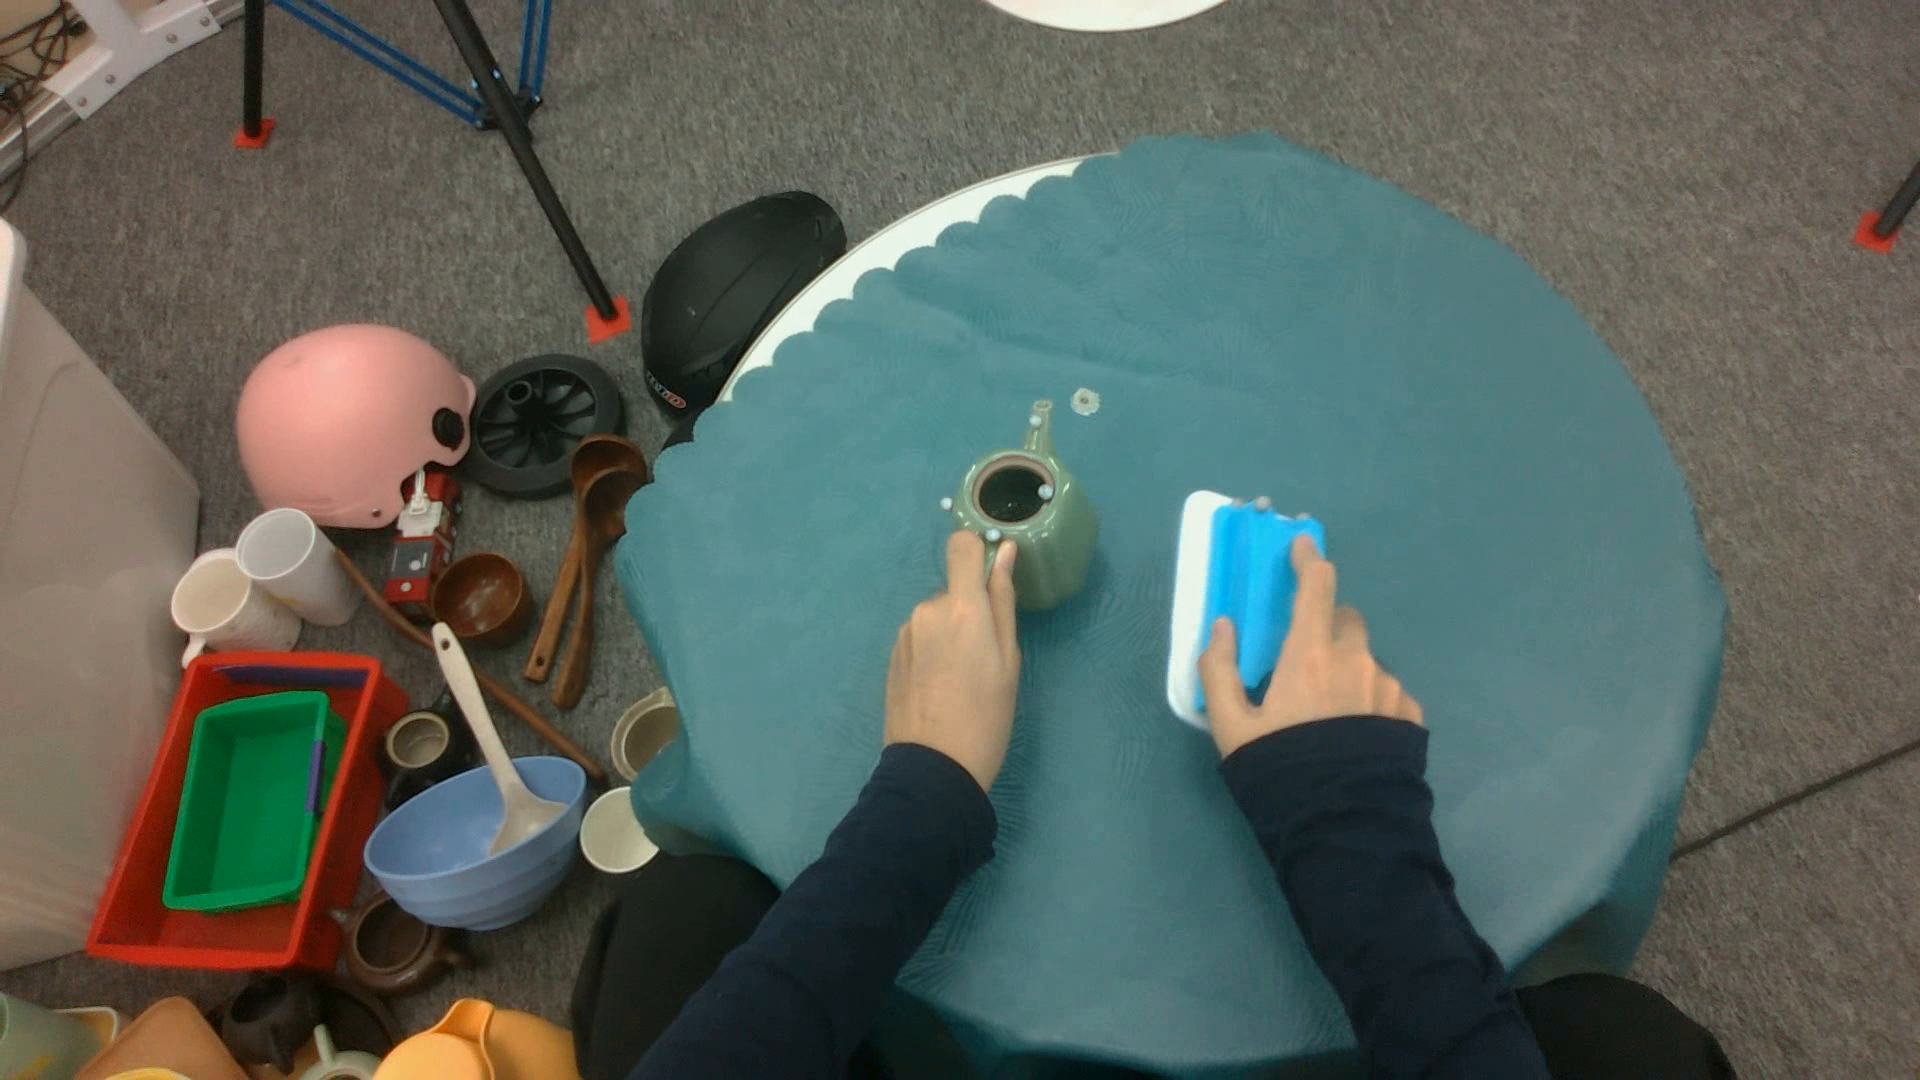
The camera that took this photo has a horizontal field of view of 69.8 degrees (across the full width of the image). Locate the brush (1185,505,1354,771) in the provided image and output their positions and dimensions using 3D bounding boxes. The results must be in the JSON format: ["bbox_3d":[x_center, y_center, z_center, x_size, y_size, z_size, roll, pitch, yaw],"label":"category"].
[{"bbox_3d":[0.169,0.043,0.716,0.084,0.055,0.144,19,58,-6],"label":"brush"}]

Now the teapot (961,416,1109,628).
[{"bbox_3d":[0.040,0.000,0.782,0.079,0.075,0.133,10,60,18],"label":"teapot"}]
